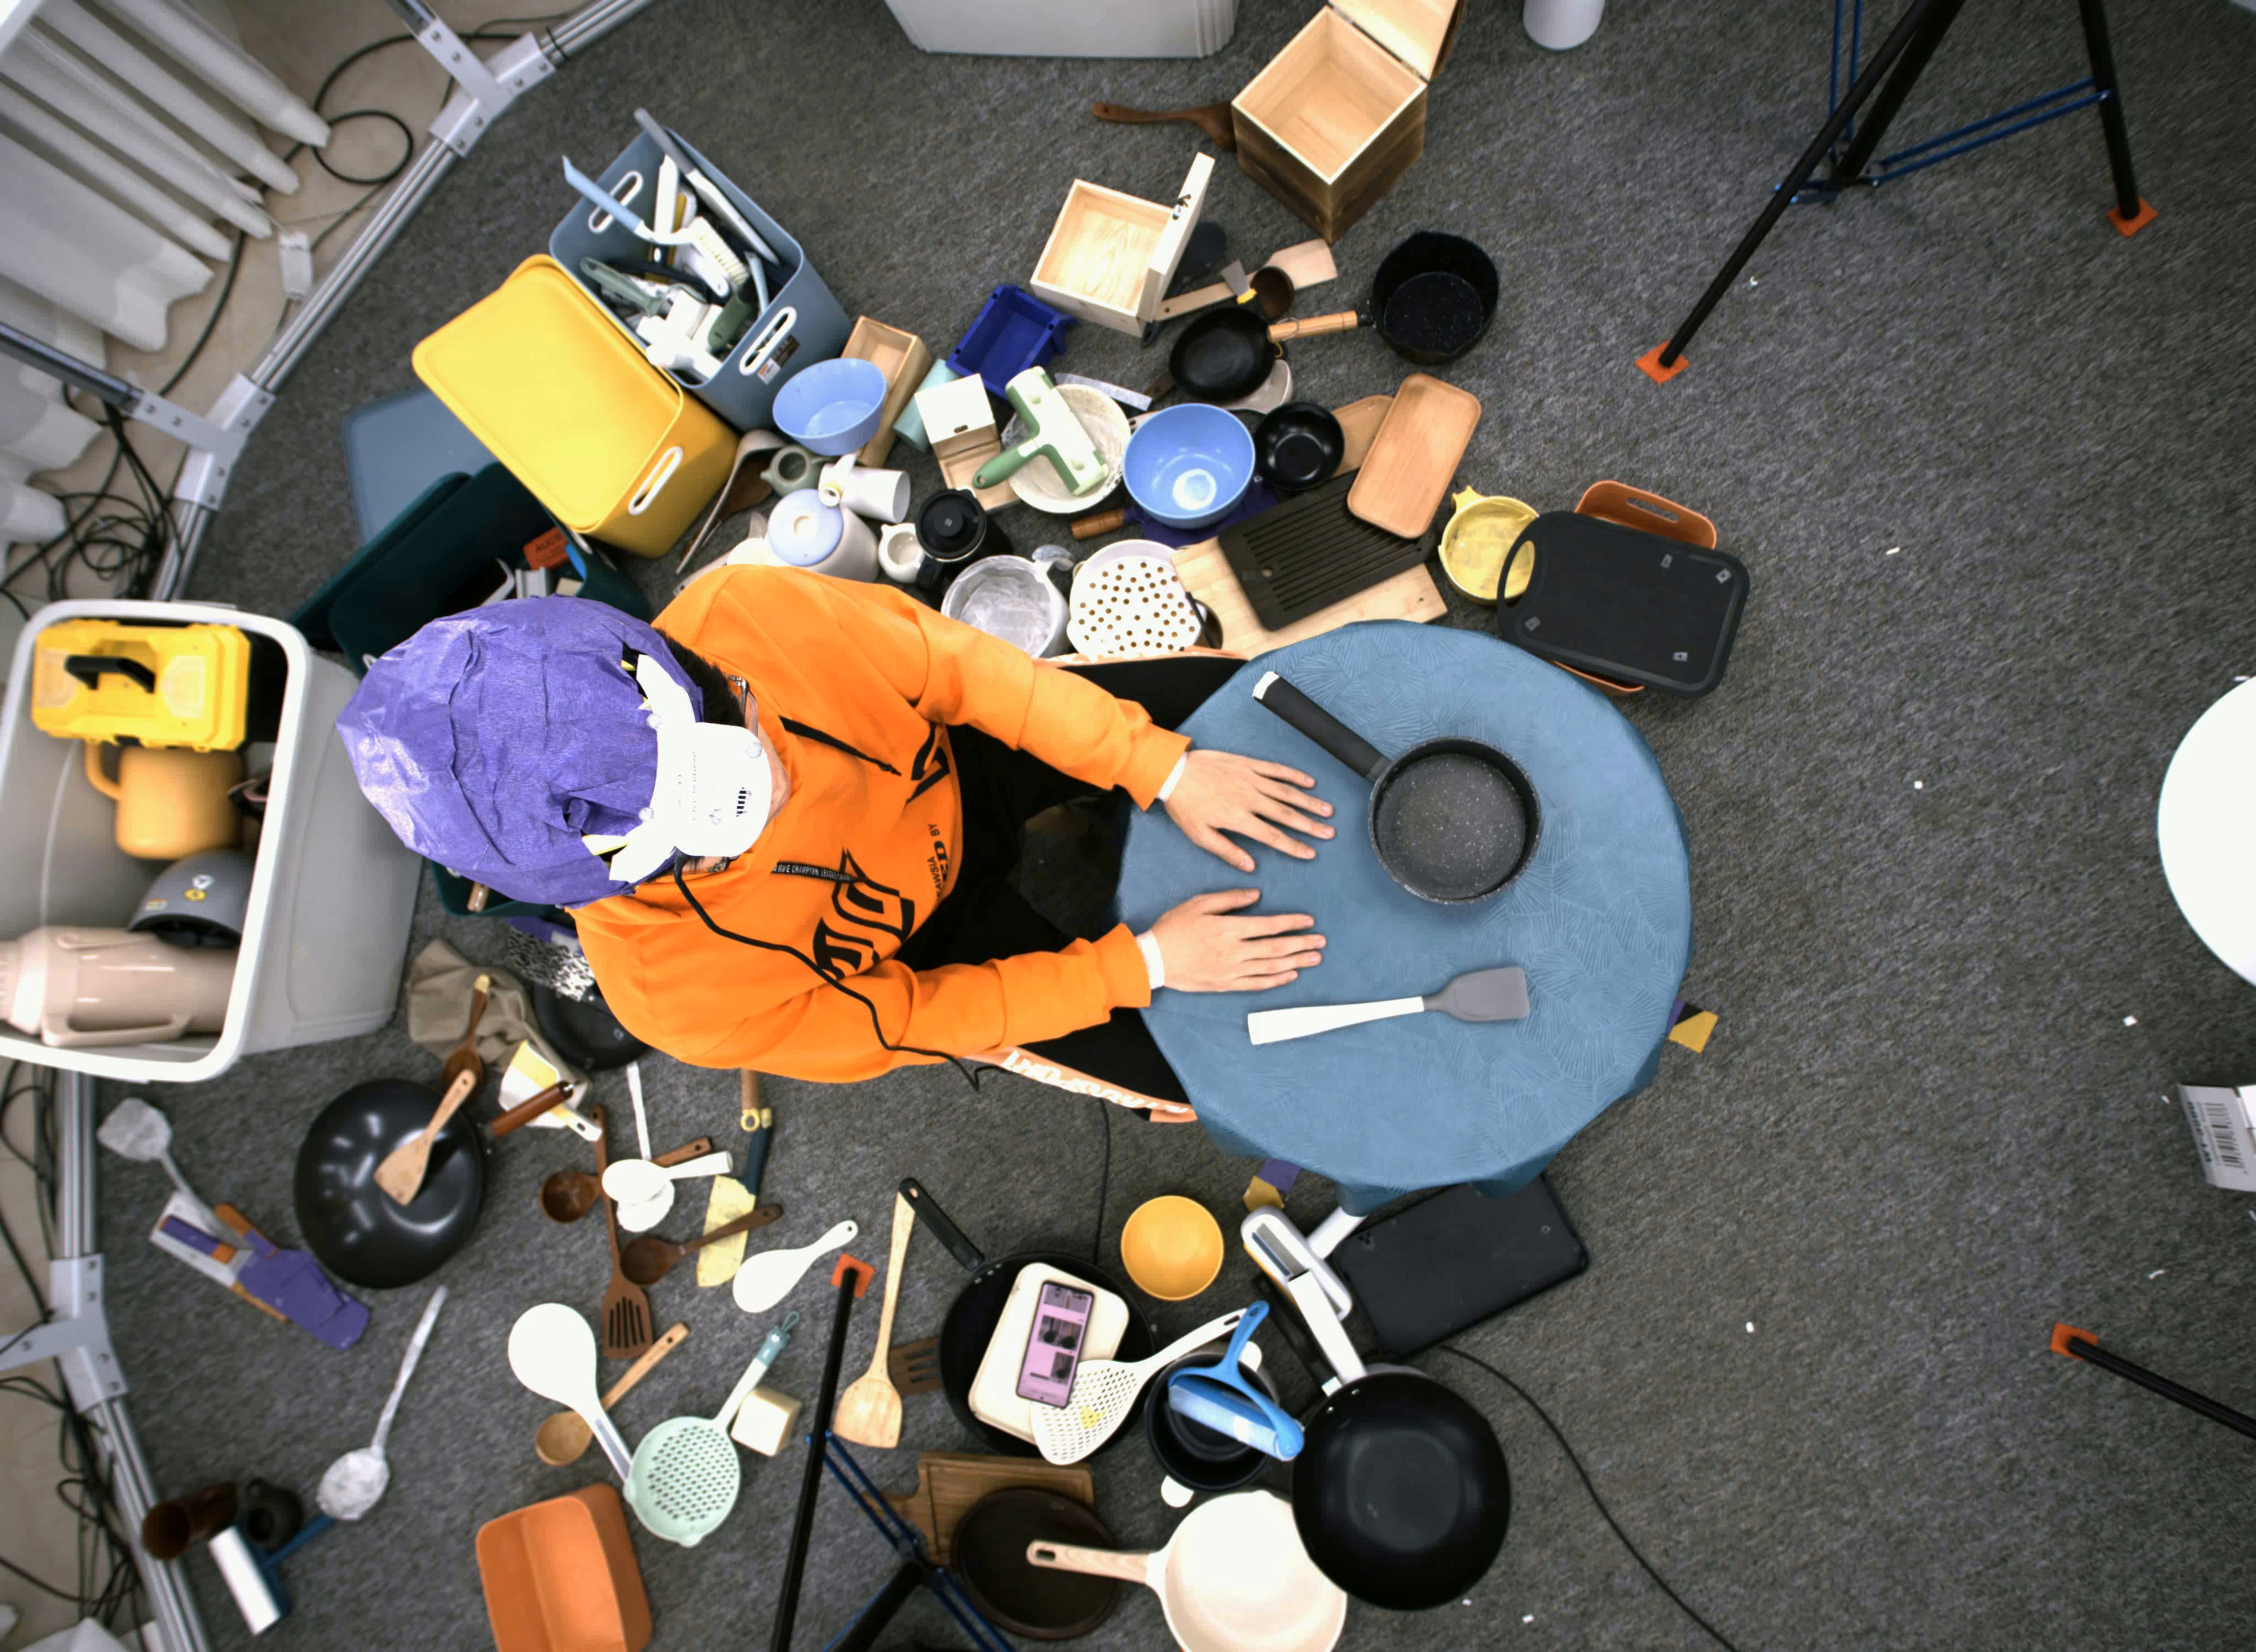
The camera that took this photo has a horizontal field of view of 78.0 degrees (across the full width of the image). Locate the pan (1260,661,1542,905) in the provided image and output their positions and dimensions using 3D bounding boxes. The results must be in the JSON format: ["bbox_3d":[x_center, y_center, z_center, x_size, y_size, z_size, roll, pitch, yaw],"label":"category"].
[{"bbox_3d":[0.272,-0.053,1.424,0.328,0.086,0.172,39,93,9],"label":"pan"}]

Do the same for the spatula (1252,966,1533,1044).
[{"bbox_3d":[0.272,0.190,1.437,0.289,0.032,0.058,-10,80,11],"label":"spatula"}]
